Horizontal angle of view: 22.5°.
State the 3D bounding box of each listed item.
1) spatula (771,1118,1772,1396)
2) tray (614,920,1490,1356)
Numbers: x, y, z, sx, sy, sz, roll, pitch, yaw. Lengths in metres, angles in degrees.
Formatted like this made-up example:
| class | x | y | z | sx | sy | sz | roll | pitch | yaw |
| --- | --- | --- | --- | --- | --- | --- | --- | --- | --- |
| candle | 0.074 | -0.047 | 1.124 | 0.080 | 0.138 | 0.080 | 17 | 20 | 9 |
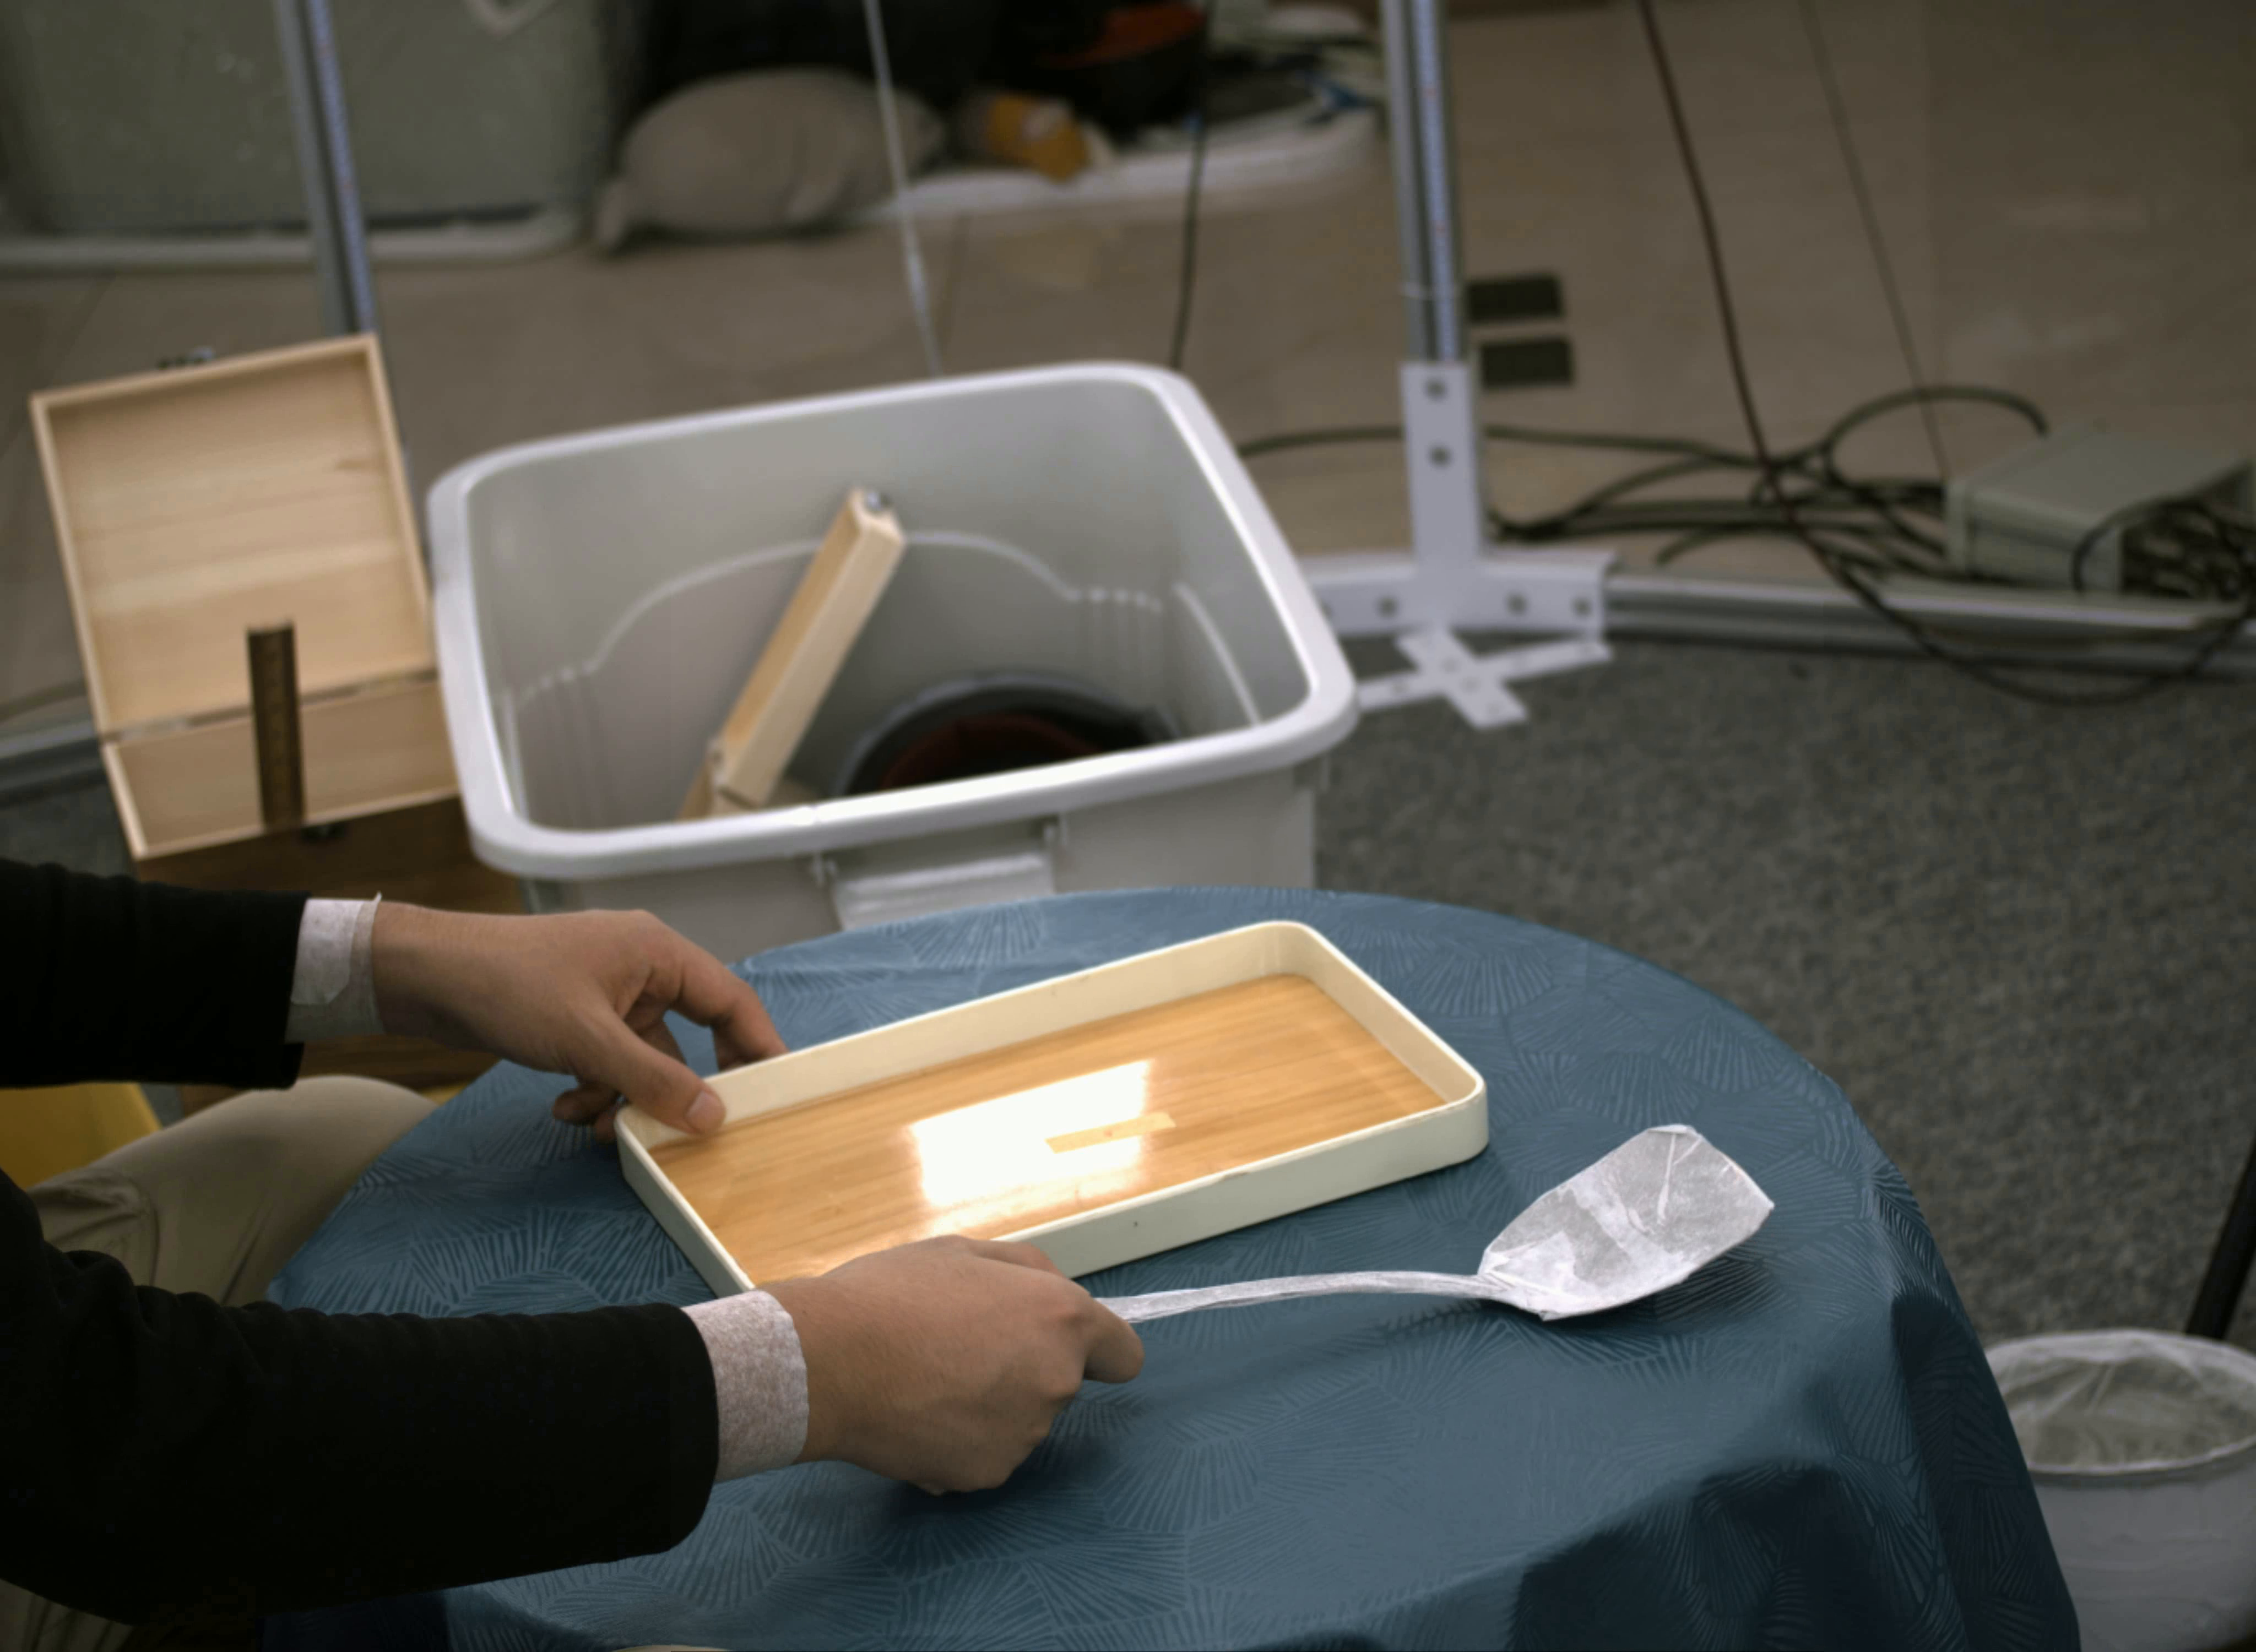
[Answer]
| class | x | y | z | sx | sy | sz | roll | pitch | yaw |
| --- | --- | --- | --- | --- | --- | --- | --- | --- | --- |
| spatula | 0.052 | 0.160 | 2.016 | 0.364 | 0.045 | 0.097 | -6 | 24 | -16 |
| tray | -0.031 | 0.116 | 2.173 | 0.299 | 0.028 | 0.189 | -15 | 26 | -18 |
